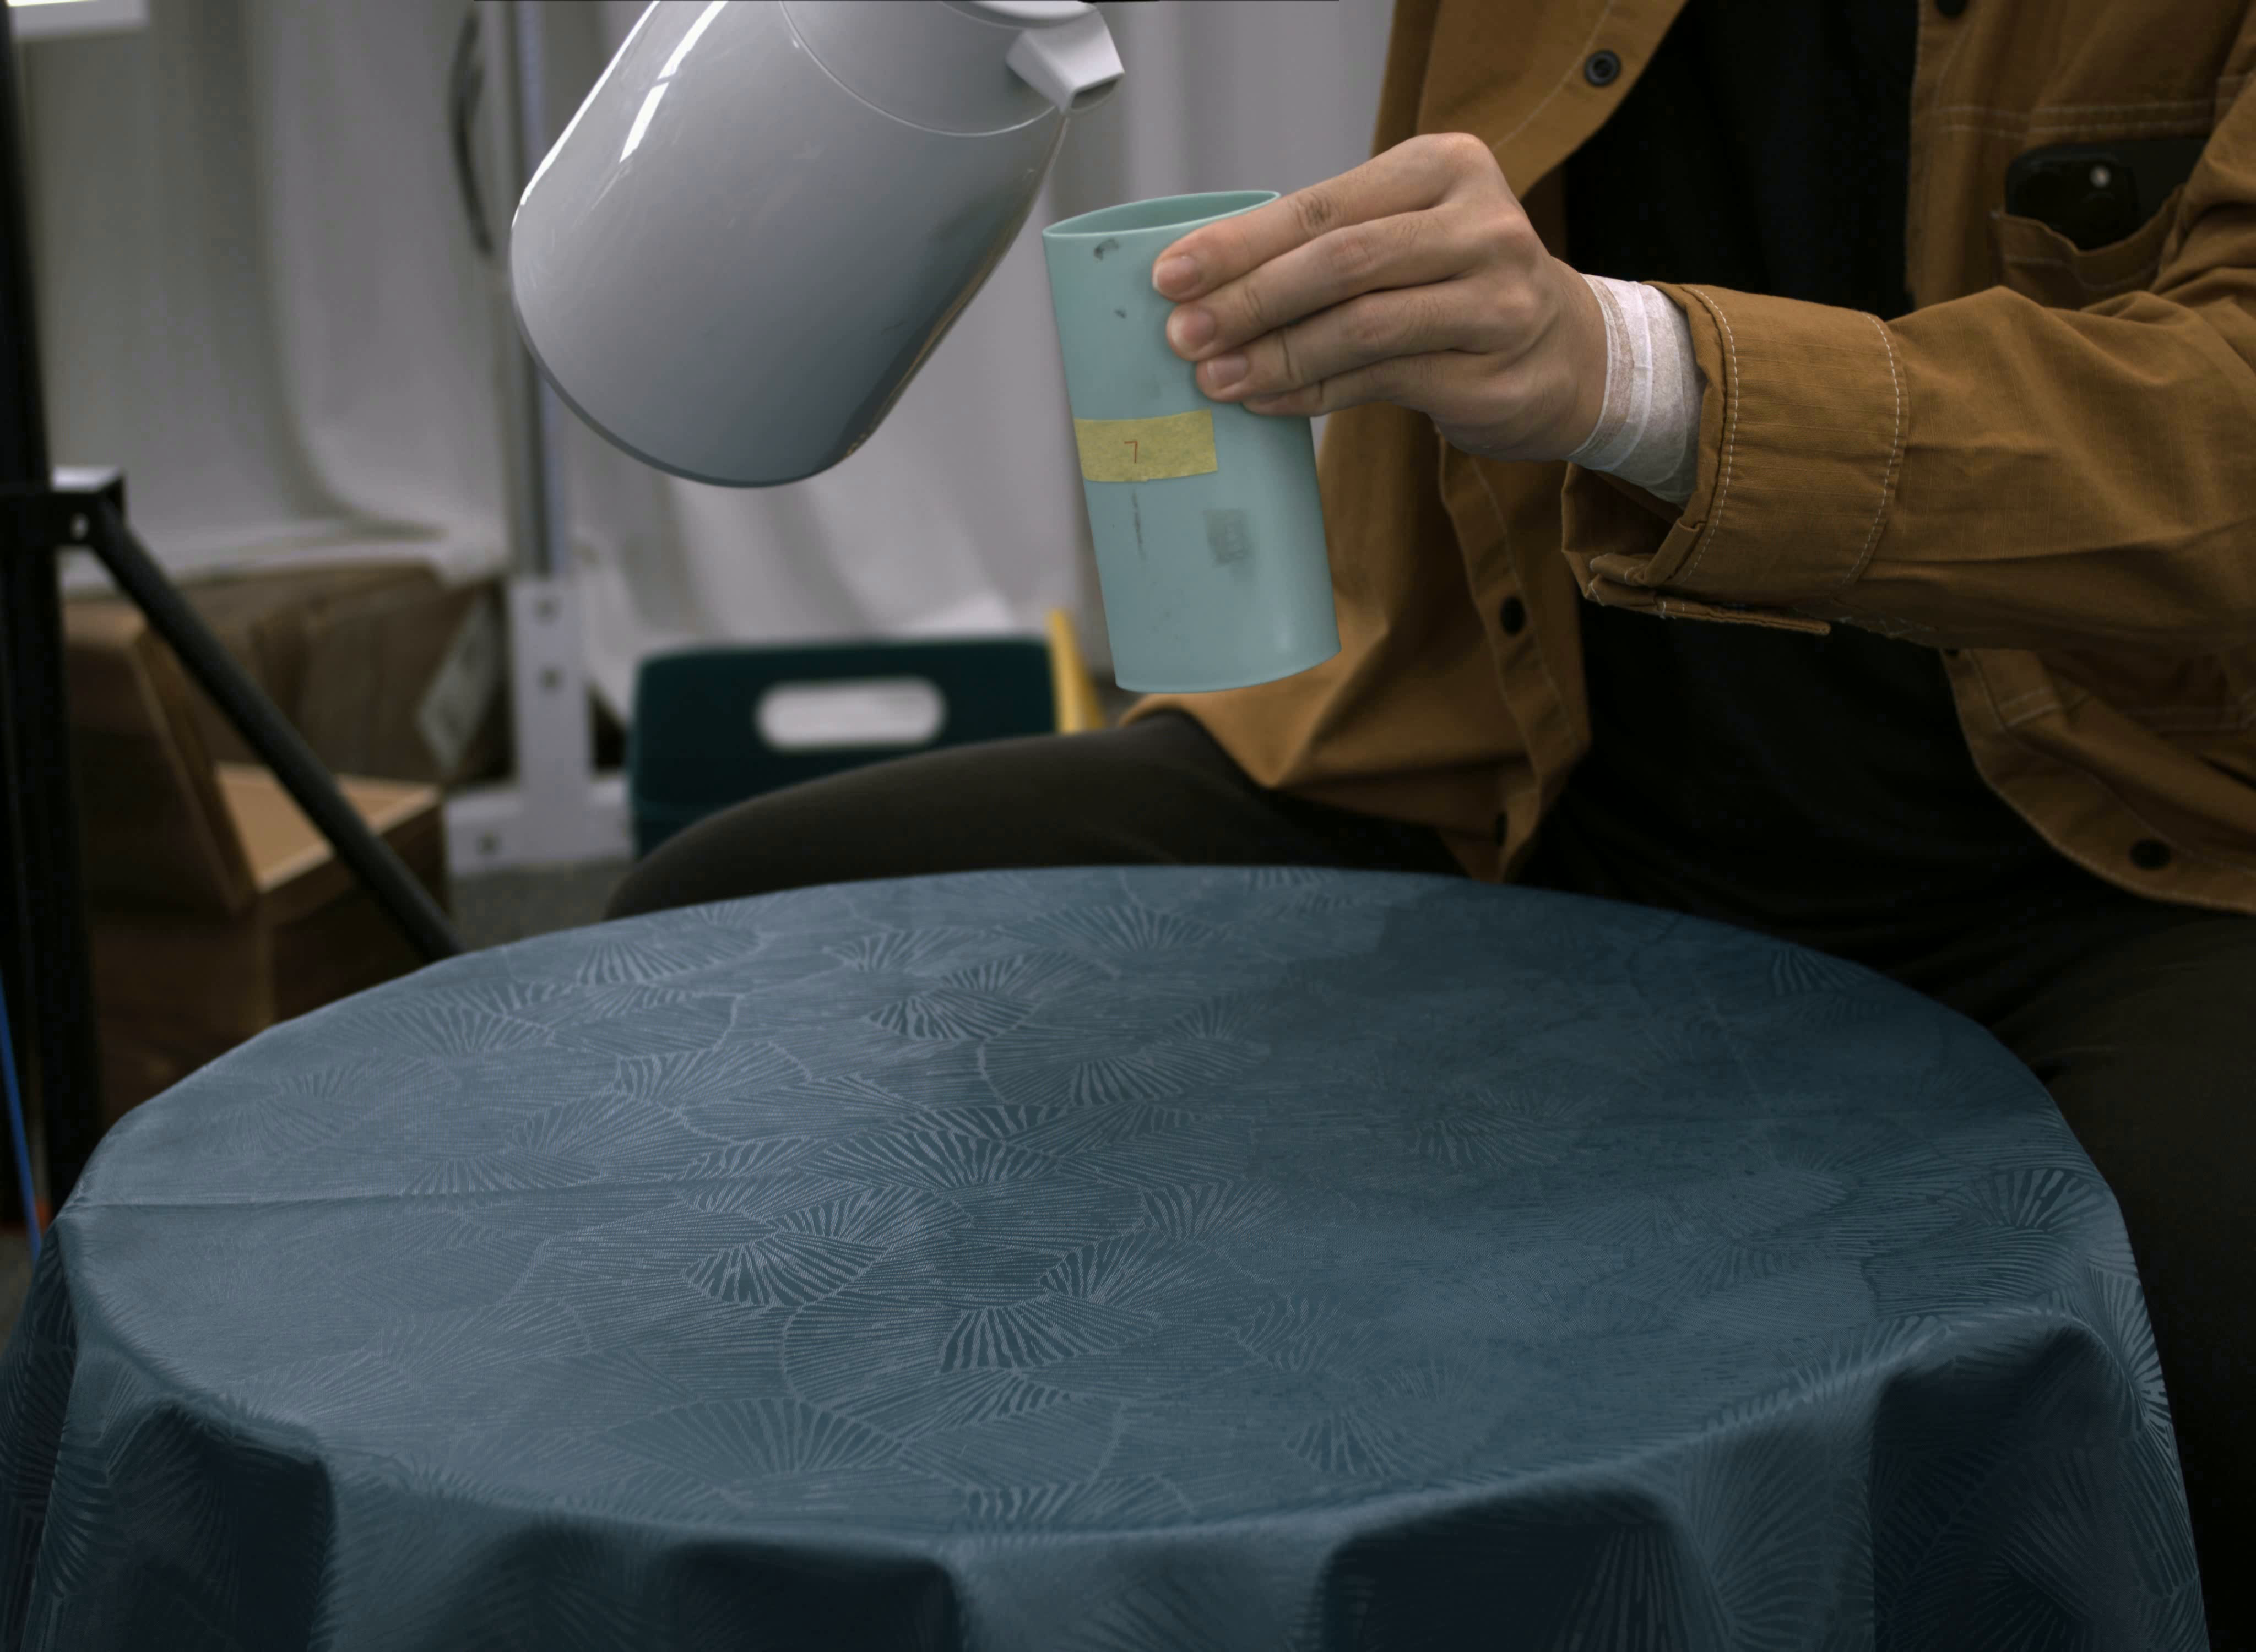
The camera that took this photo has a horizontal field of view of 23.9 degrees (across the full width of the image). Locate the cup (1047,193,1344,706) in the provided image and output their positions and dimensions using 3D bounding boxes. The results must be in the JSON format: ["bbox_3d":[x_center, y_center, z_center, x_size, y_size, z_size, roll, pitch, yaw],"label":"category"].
[{"bbox_3d":[0.021,-0.105,1.482,0.066,0.132,0.067,-9,13,1],"label":"cup"}]

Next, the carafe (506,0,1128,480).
[{"bbox_3d":[-0.091,-0.232,1.570,0.130,0.169,0.251,-25,-13,-33],"label":"carafe"}]
